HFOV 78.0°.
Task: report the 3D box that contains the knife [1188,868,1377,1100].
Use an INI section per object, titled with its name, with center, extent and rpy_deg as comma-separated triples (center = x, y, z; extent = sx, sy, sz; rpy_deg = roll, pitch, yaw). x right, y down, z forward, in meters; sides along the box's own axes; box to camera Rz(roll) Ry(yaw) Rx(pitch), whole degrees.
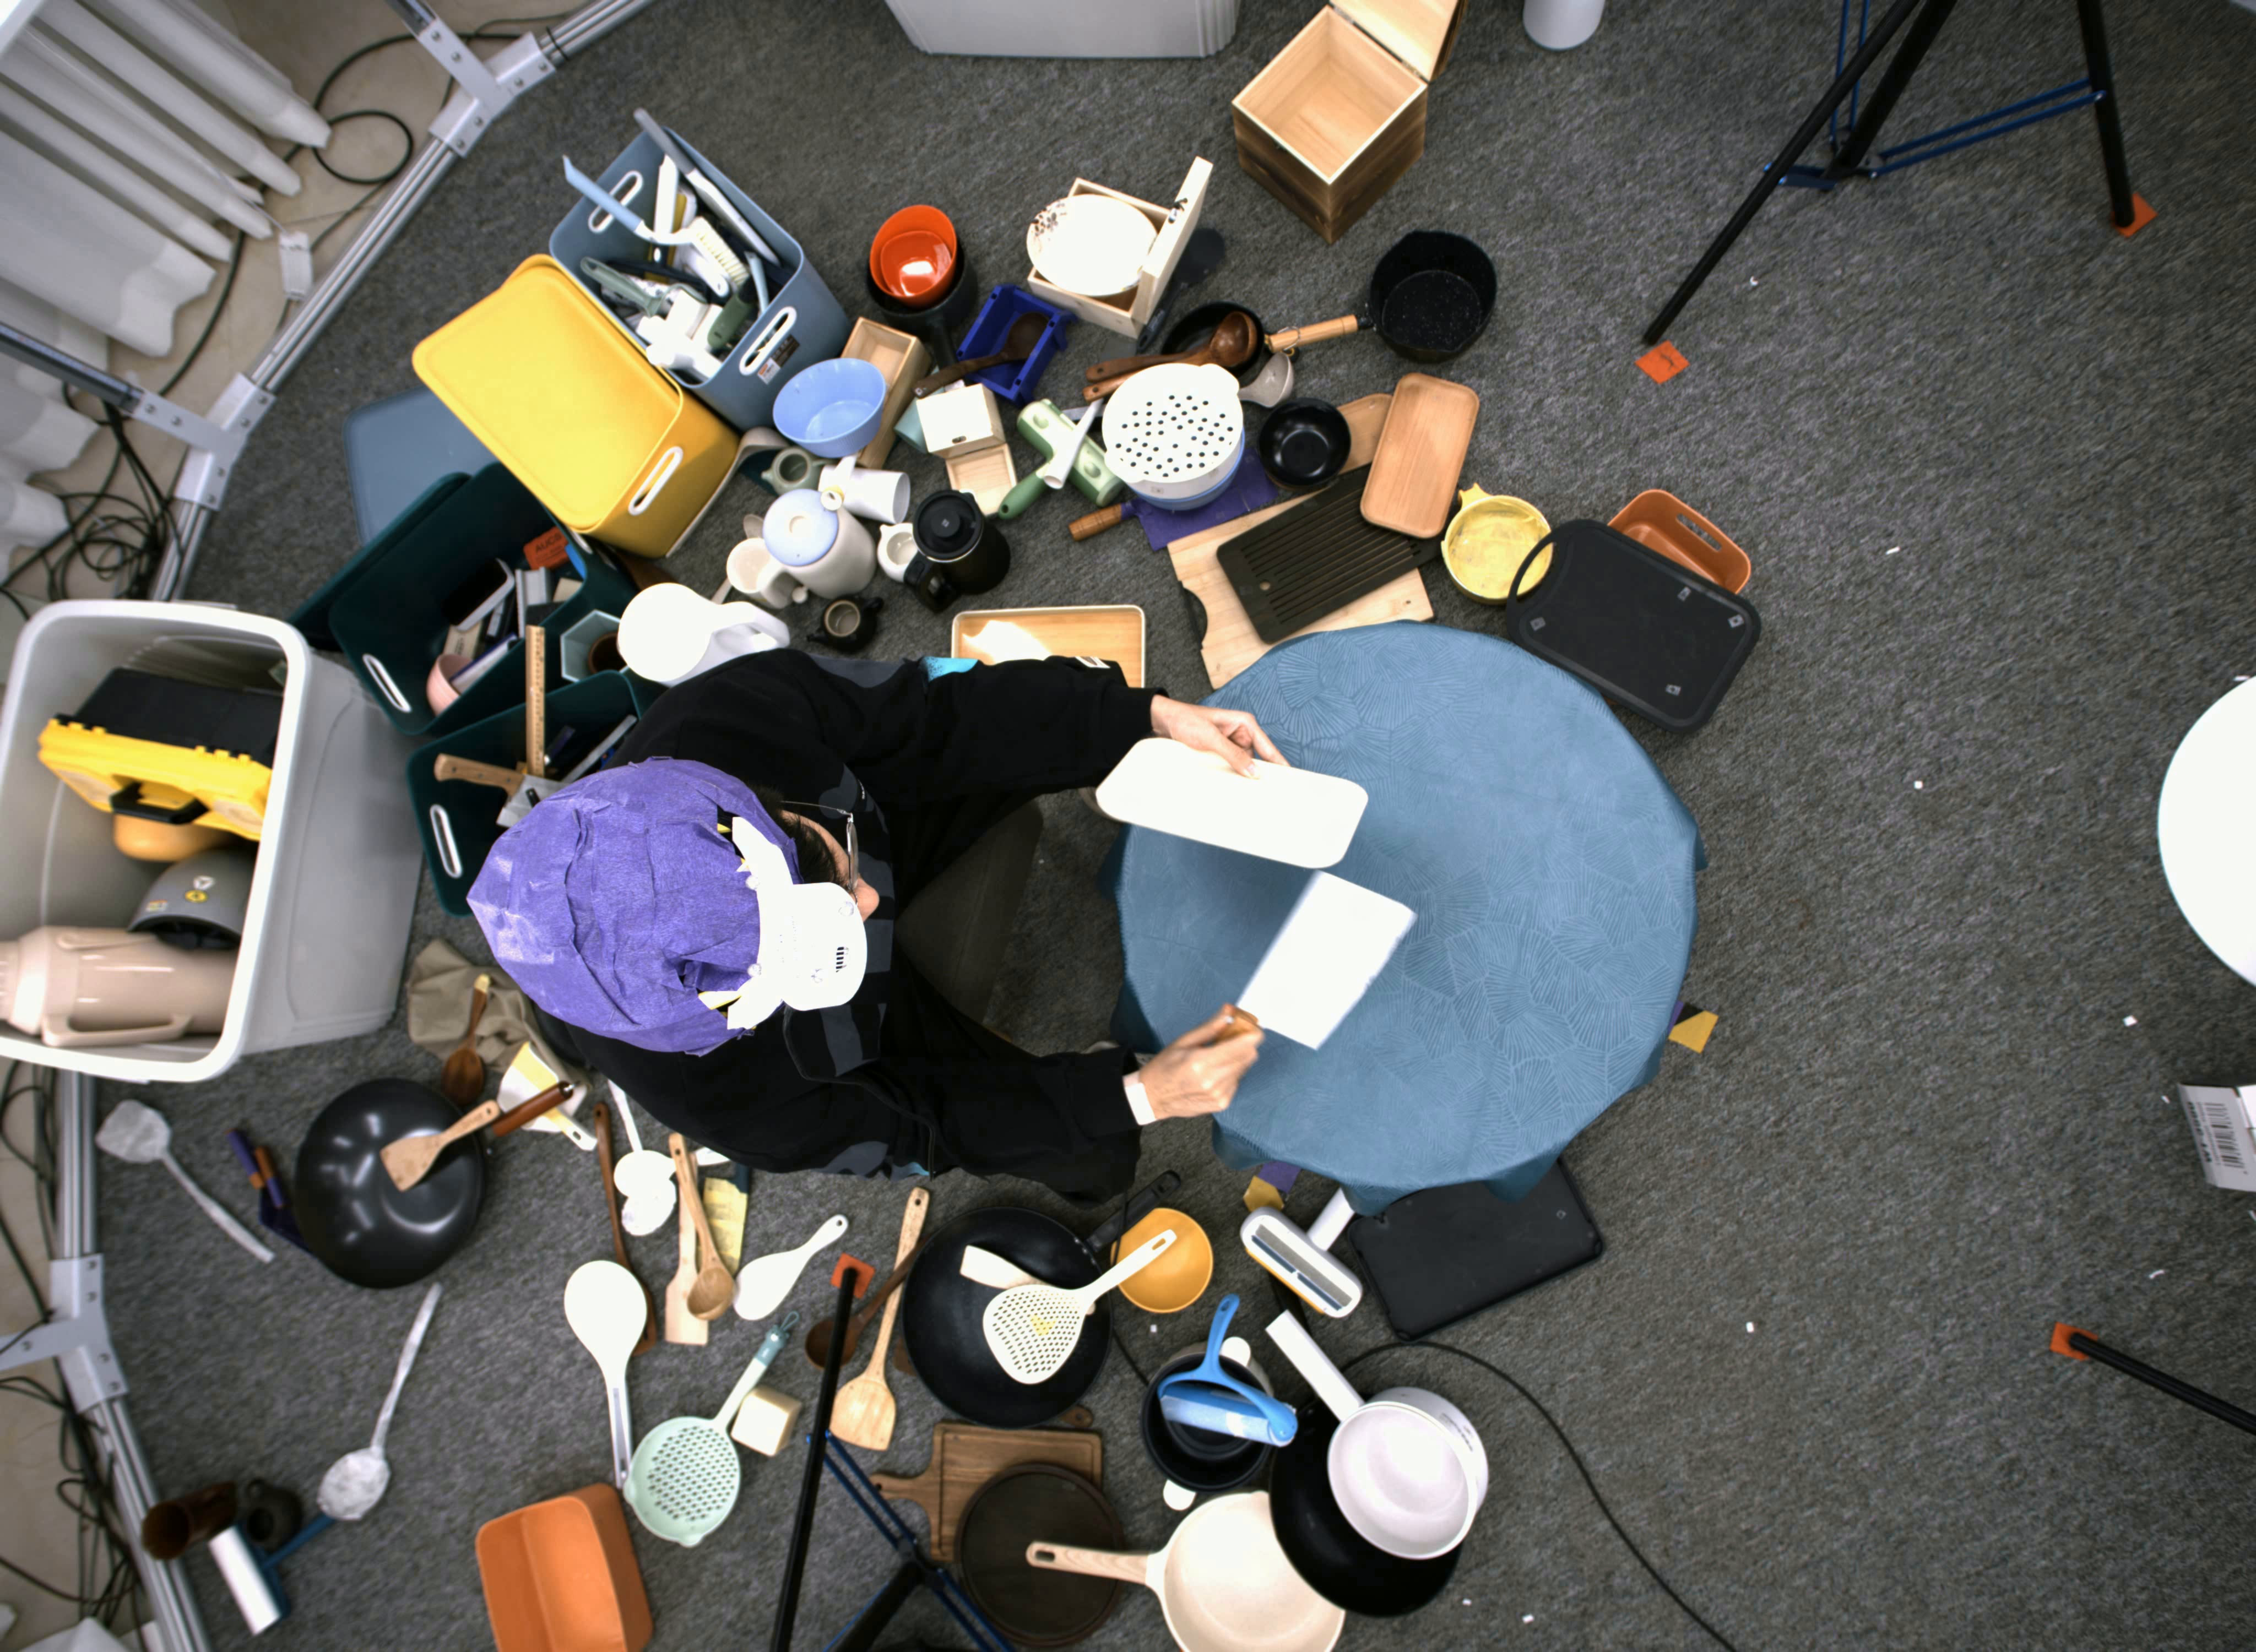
[knife]
center = 0.147, 0.163, 1.322
extent = 0.093, 0.020, 0.313
rpy_deg = 20, 126, -6

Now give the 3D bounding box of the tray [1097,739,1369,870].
[tray]
center = 0.101, -0.023, 1.316
extent = 0.240, 0.167, 0.018
rpy_deg = 14, 122, 14
